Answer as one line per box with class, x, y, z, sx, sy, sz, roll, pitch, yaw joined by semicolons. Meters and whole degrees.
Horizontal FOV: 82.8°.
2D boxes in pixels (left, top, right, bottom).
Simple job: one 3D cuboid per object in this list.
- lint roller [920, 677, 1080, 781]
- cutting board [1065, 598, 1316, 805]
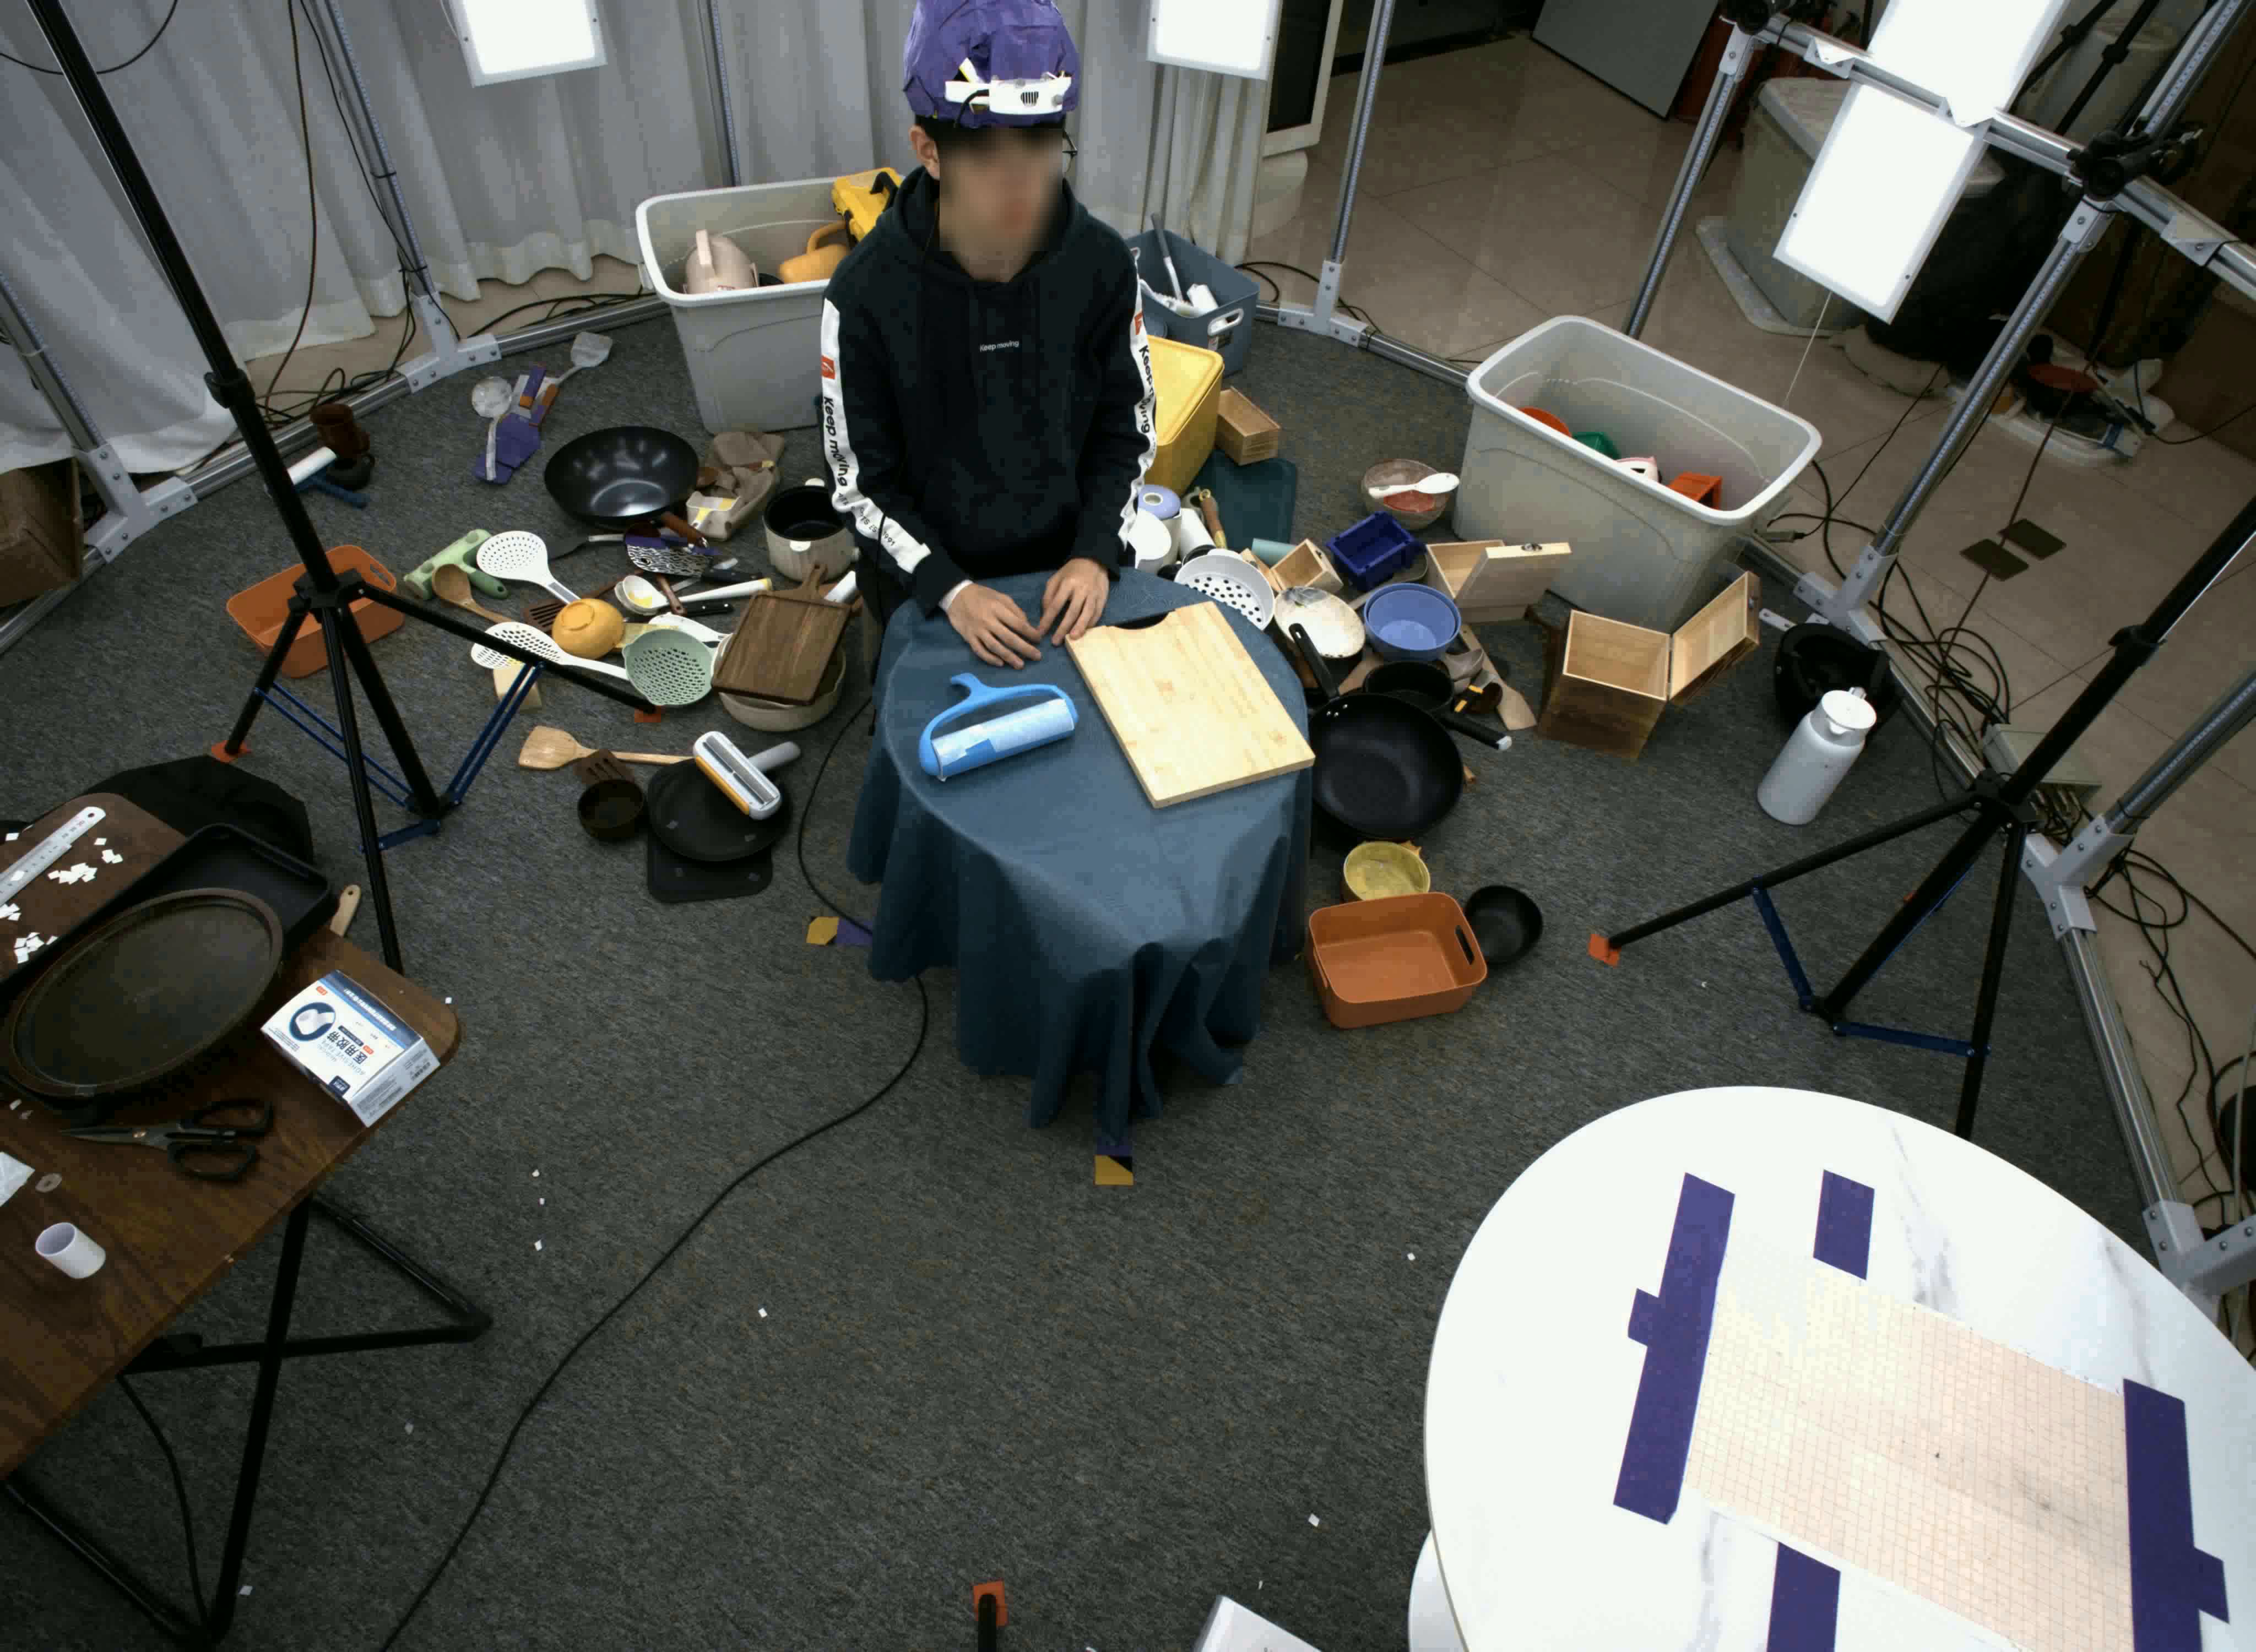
lint roller;-0.199;-0.159;1.756;0.229;0.066;0.184;-23;55;-20
cutting board;0.081;-0.185;1.823;0.251;0.023;0.357;-16;52;-17
